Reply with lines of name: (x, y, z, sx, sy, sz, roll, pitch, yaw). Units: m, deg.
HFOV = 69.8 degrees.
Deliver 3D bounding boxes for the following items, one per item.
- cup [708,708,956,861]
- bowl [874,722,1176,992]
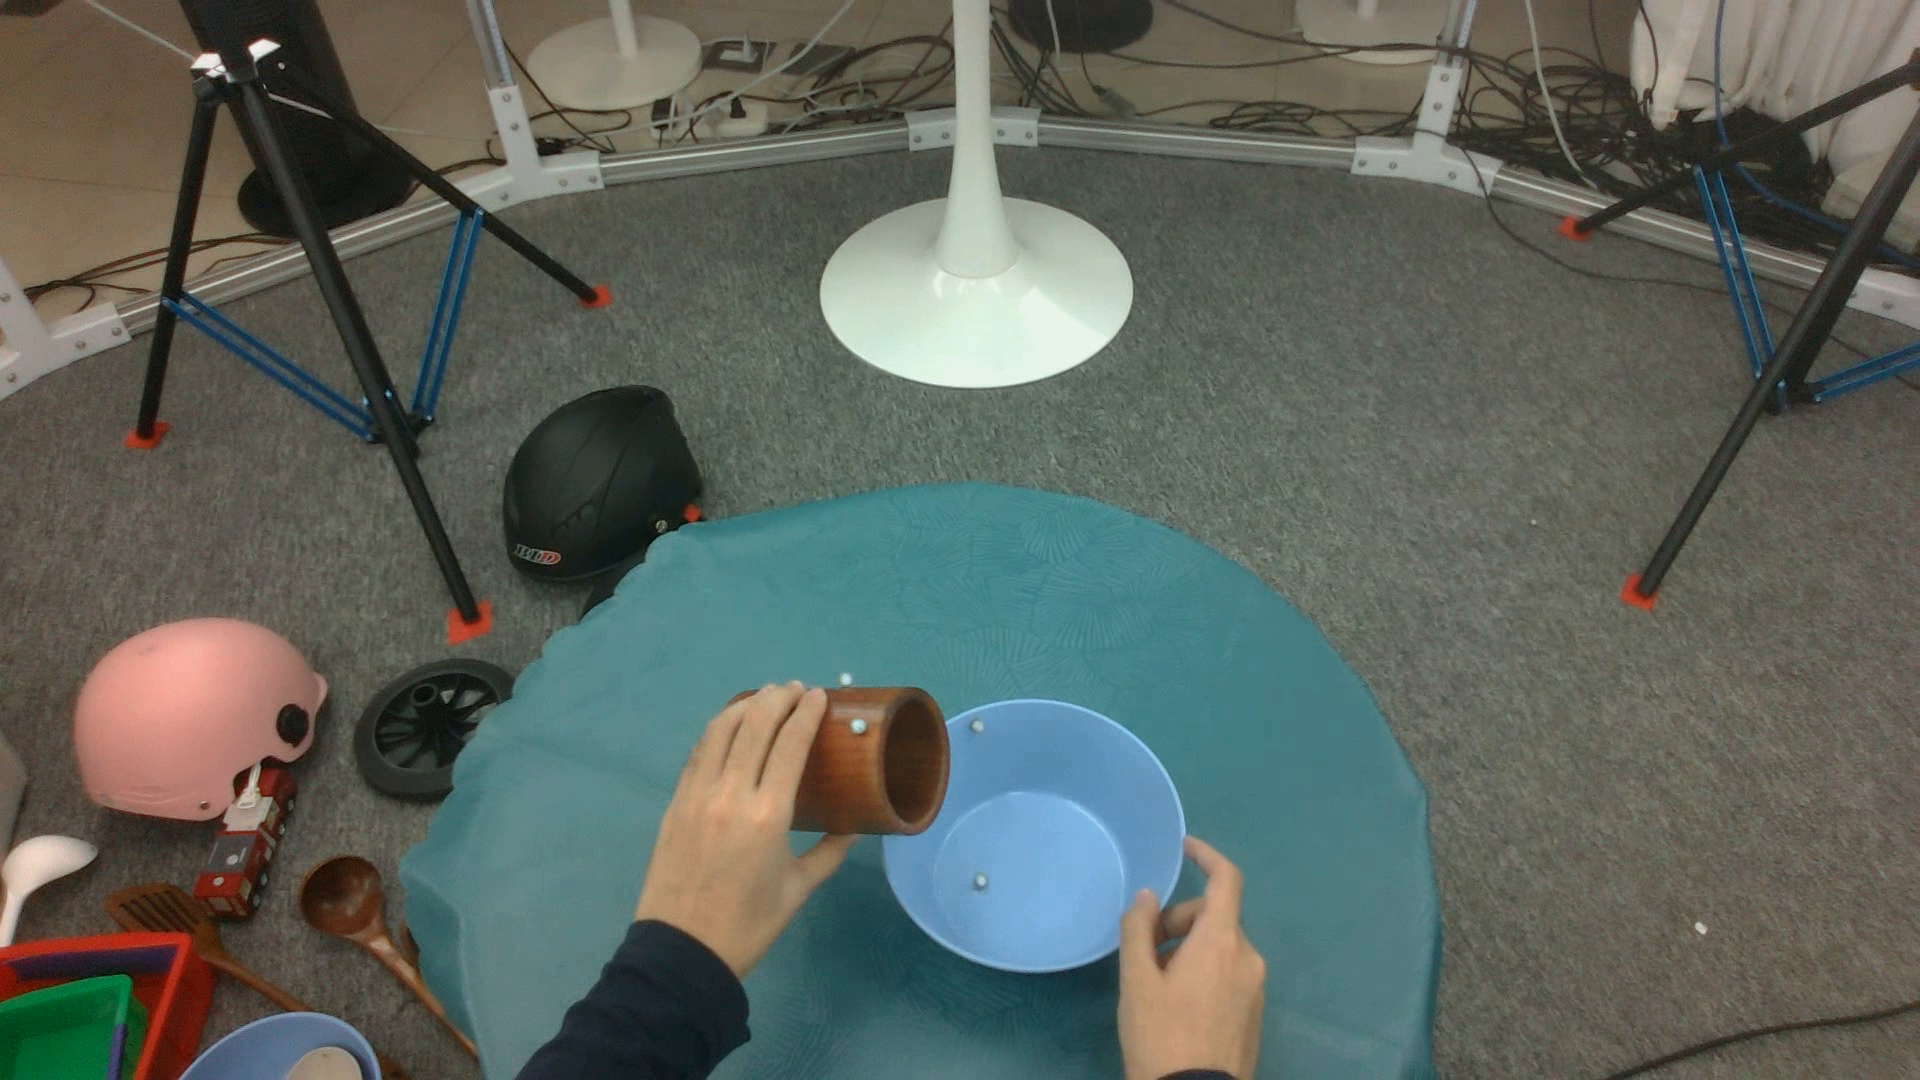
cup: (-0.071, 0.136, 0.779, 0.118, 0.087, 0.088, -3, 41, 31)
bowl: (0.038, 0.199, 0.822, 0.176, 0.070, 0.177, -1, 47, 1)
